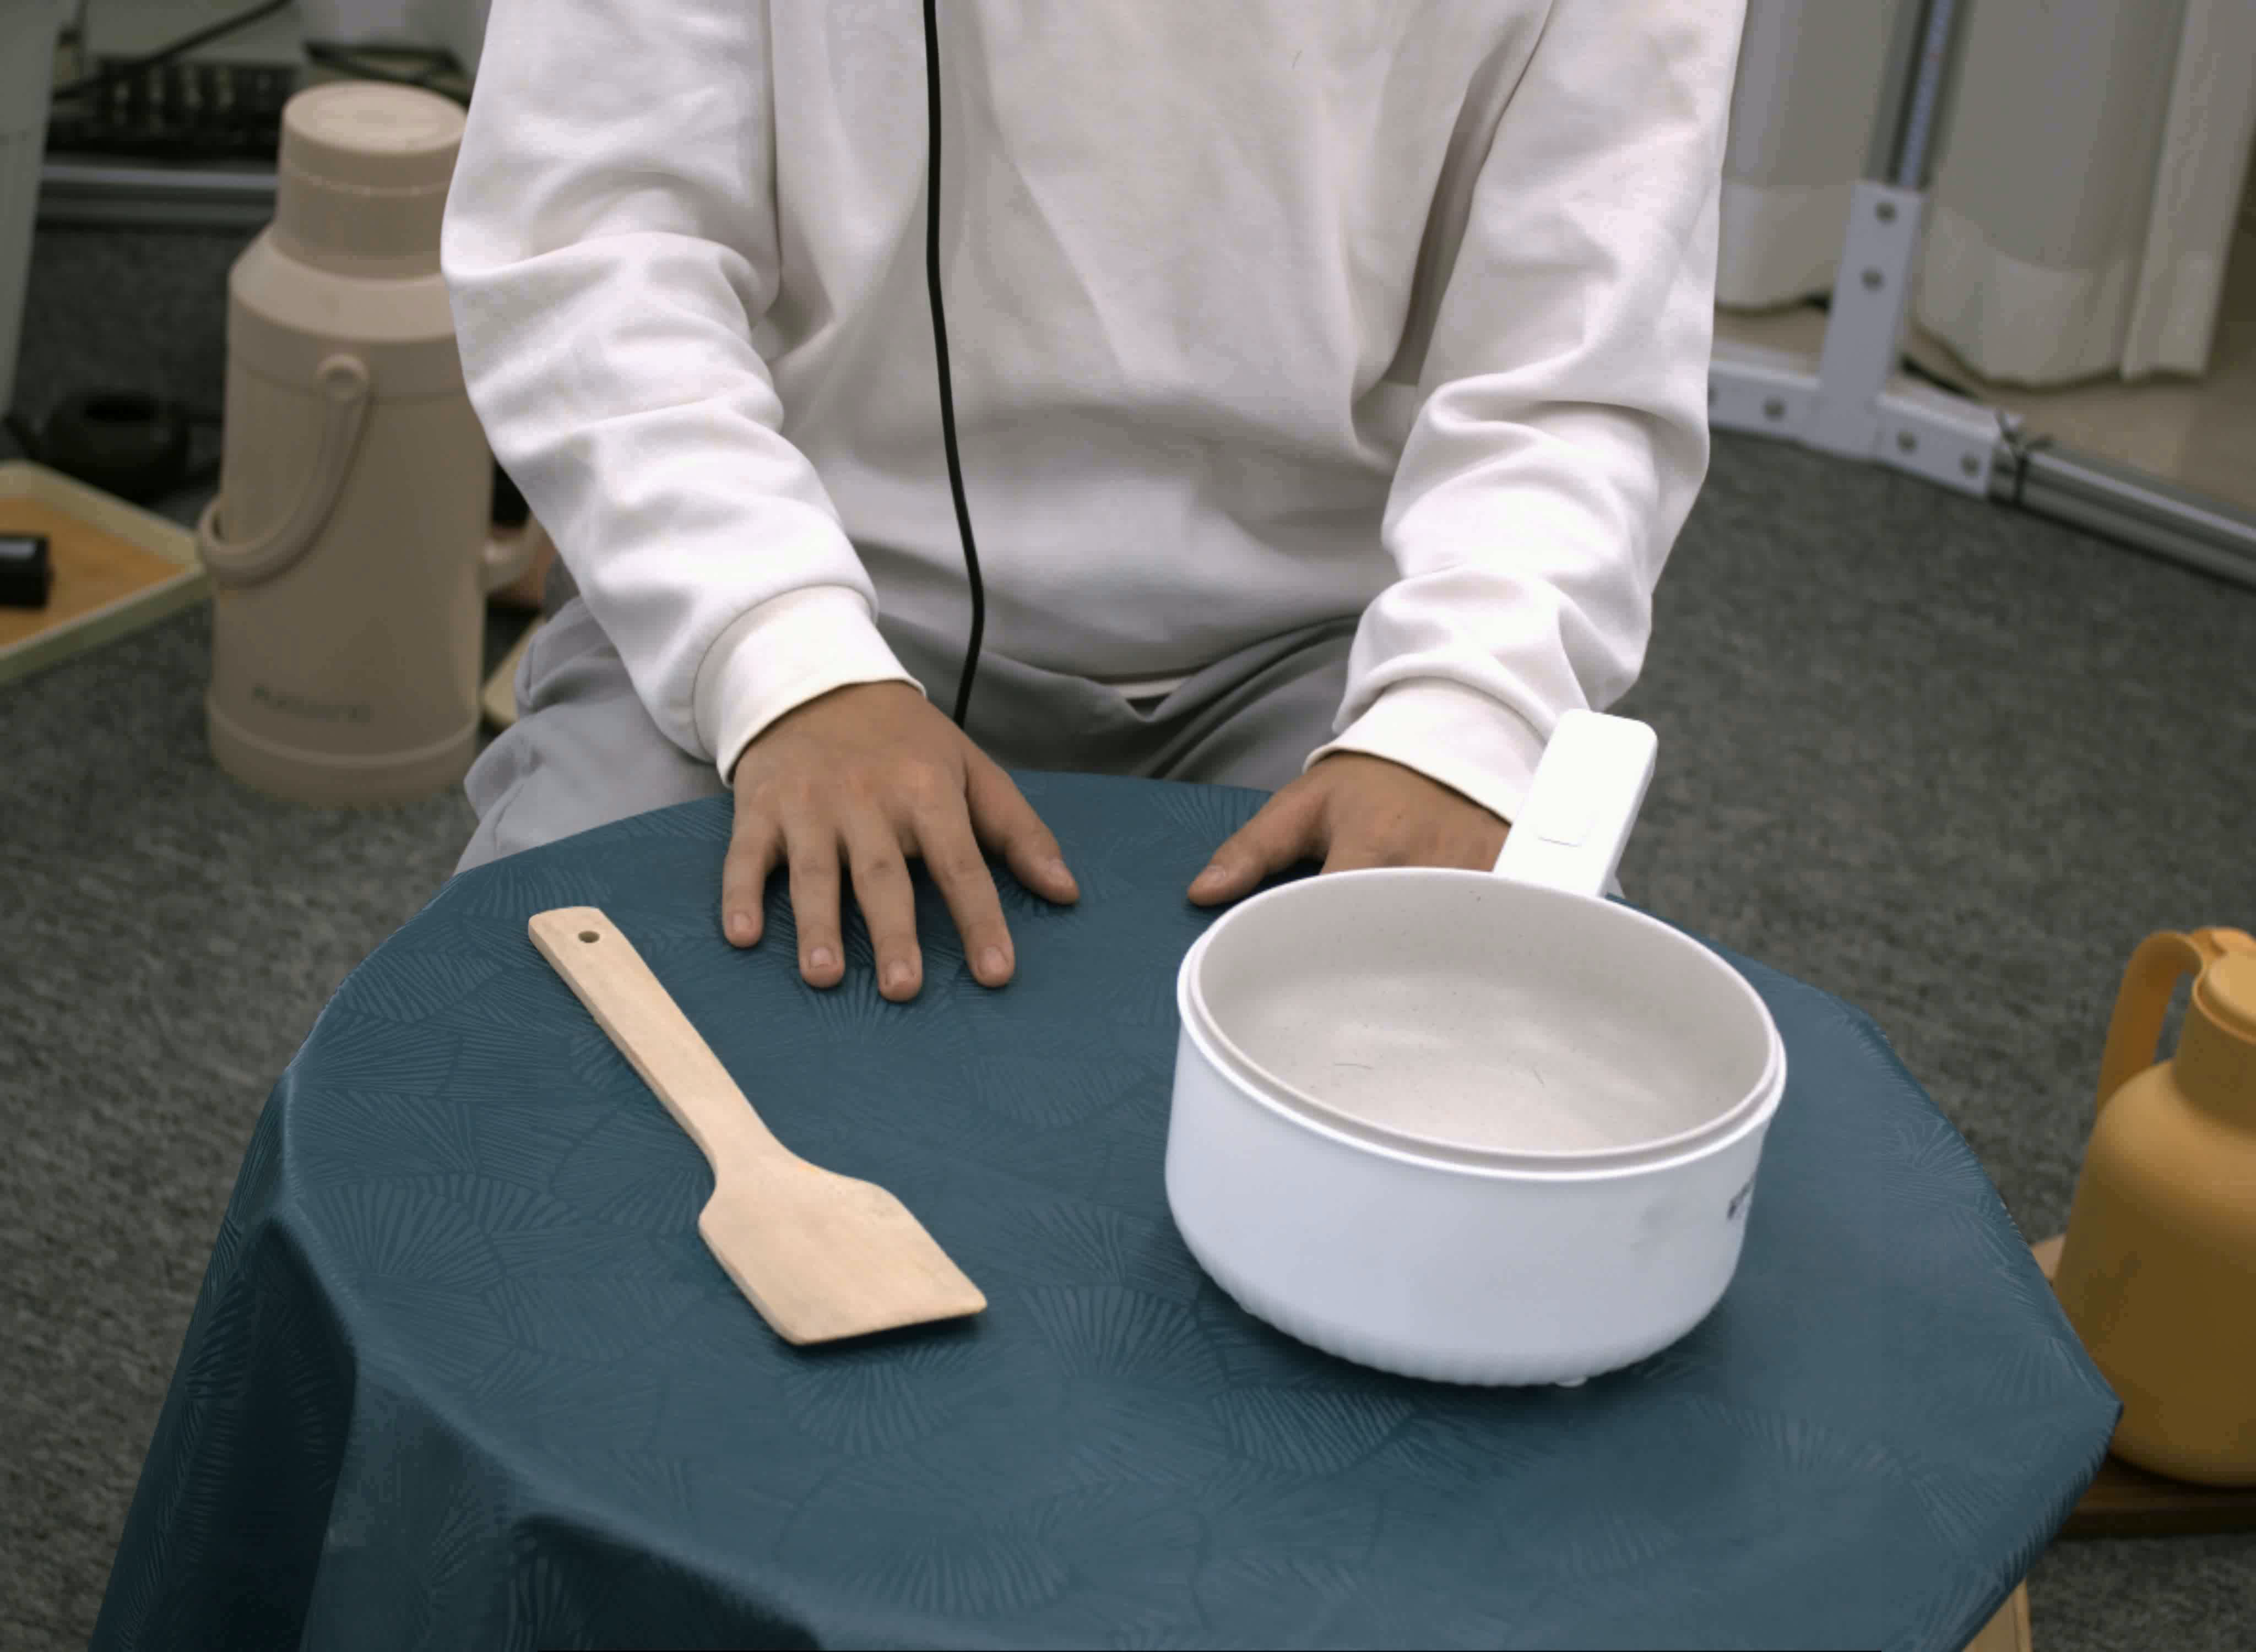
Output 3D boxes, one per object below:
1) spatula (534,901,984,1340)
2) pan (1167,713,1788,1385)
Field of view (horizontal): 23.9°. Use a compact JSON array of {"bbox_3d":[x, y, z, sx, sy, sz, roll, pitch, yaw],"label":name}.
[{"bbox_3d":[-0.141,0.096,1.818,0.072,0.010,0.296,-9,31,-26],"label":"spatula"},{"bbox_3d":[0.131,0.072,1.830,0.201,0.102,0.355,12,26,11],"label":"pan"}]
